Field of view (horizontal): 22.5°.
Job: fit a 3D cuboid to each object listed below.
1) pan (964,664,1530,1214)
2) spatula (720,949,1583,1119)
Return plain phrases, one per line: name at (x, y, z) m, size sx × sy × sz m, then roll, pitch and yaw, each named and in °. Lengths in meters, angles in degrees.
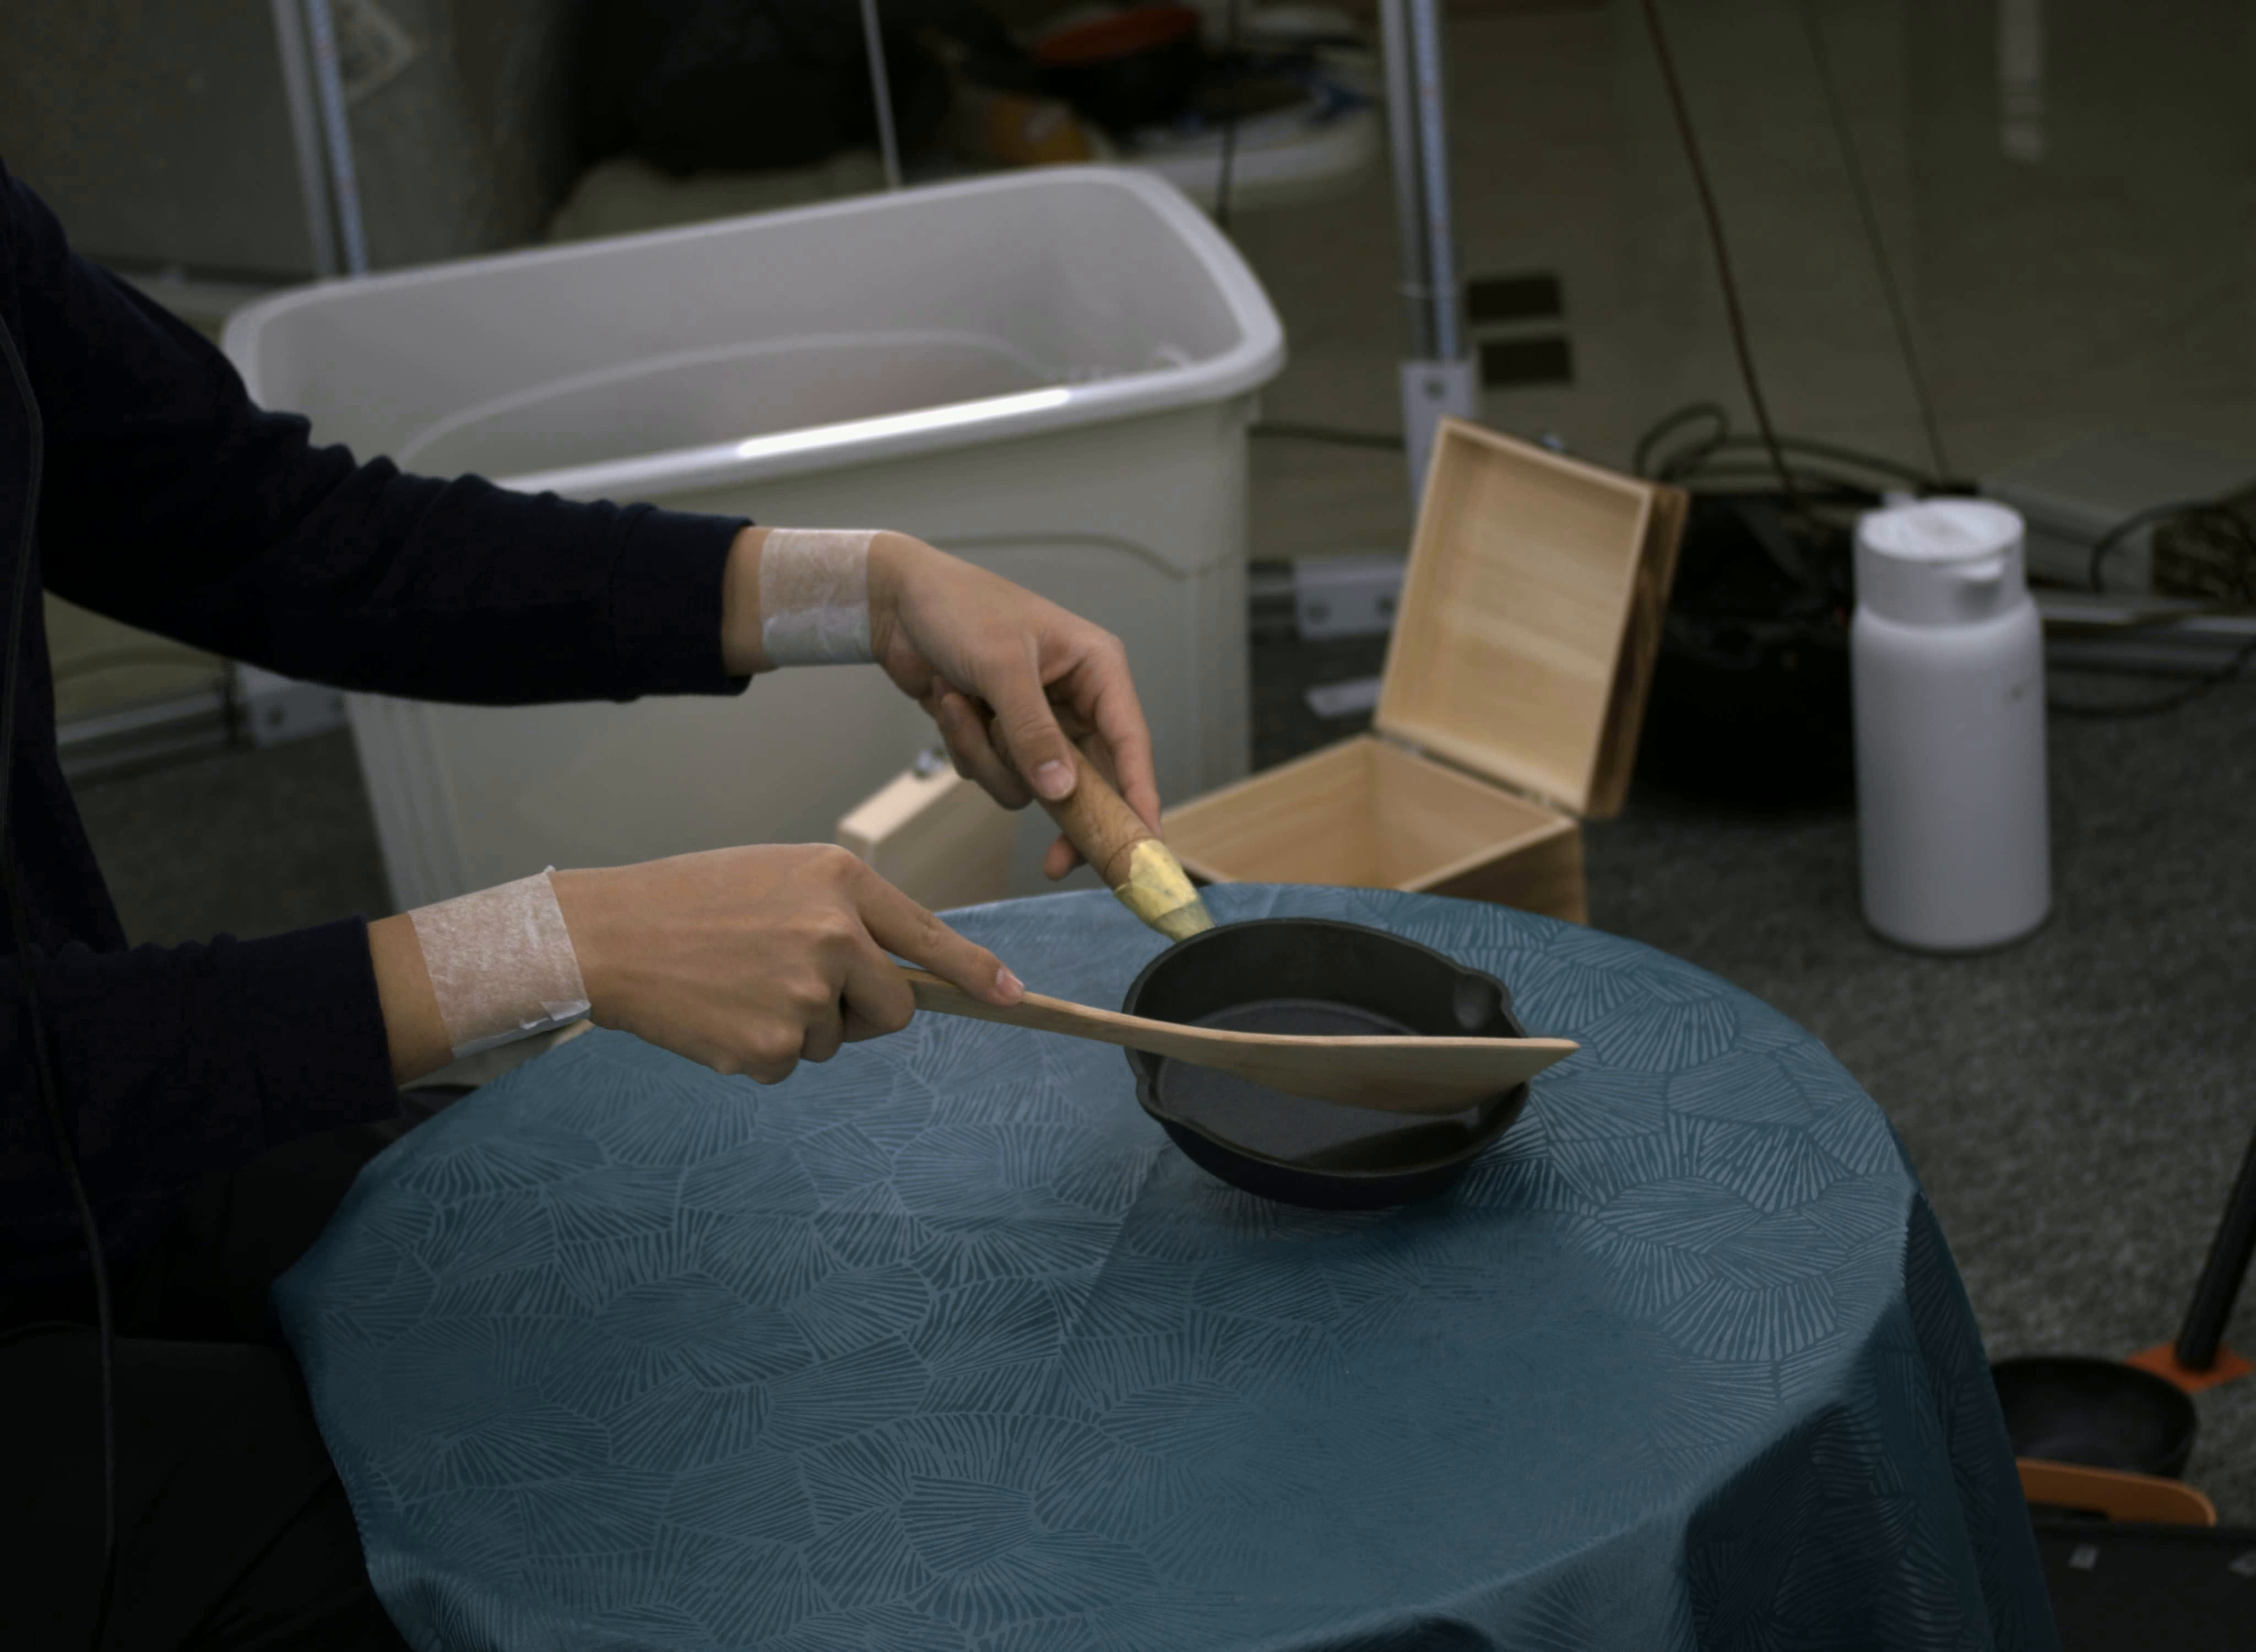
pan at (0.028, 0.042, 2.194) m, size 0.168 × 0.050 × 0.319 m, roll -17°, pitch 45°, yaw -29°
spatula at (0.006, 0.073, 2.069) m, size 0.328 × 0.081 × 0.016 m, roll 11°, pitch 64°, yaw -21°
